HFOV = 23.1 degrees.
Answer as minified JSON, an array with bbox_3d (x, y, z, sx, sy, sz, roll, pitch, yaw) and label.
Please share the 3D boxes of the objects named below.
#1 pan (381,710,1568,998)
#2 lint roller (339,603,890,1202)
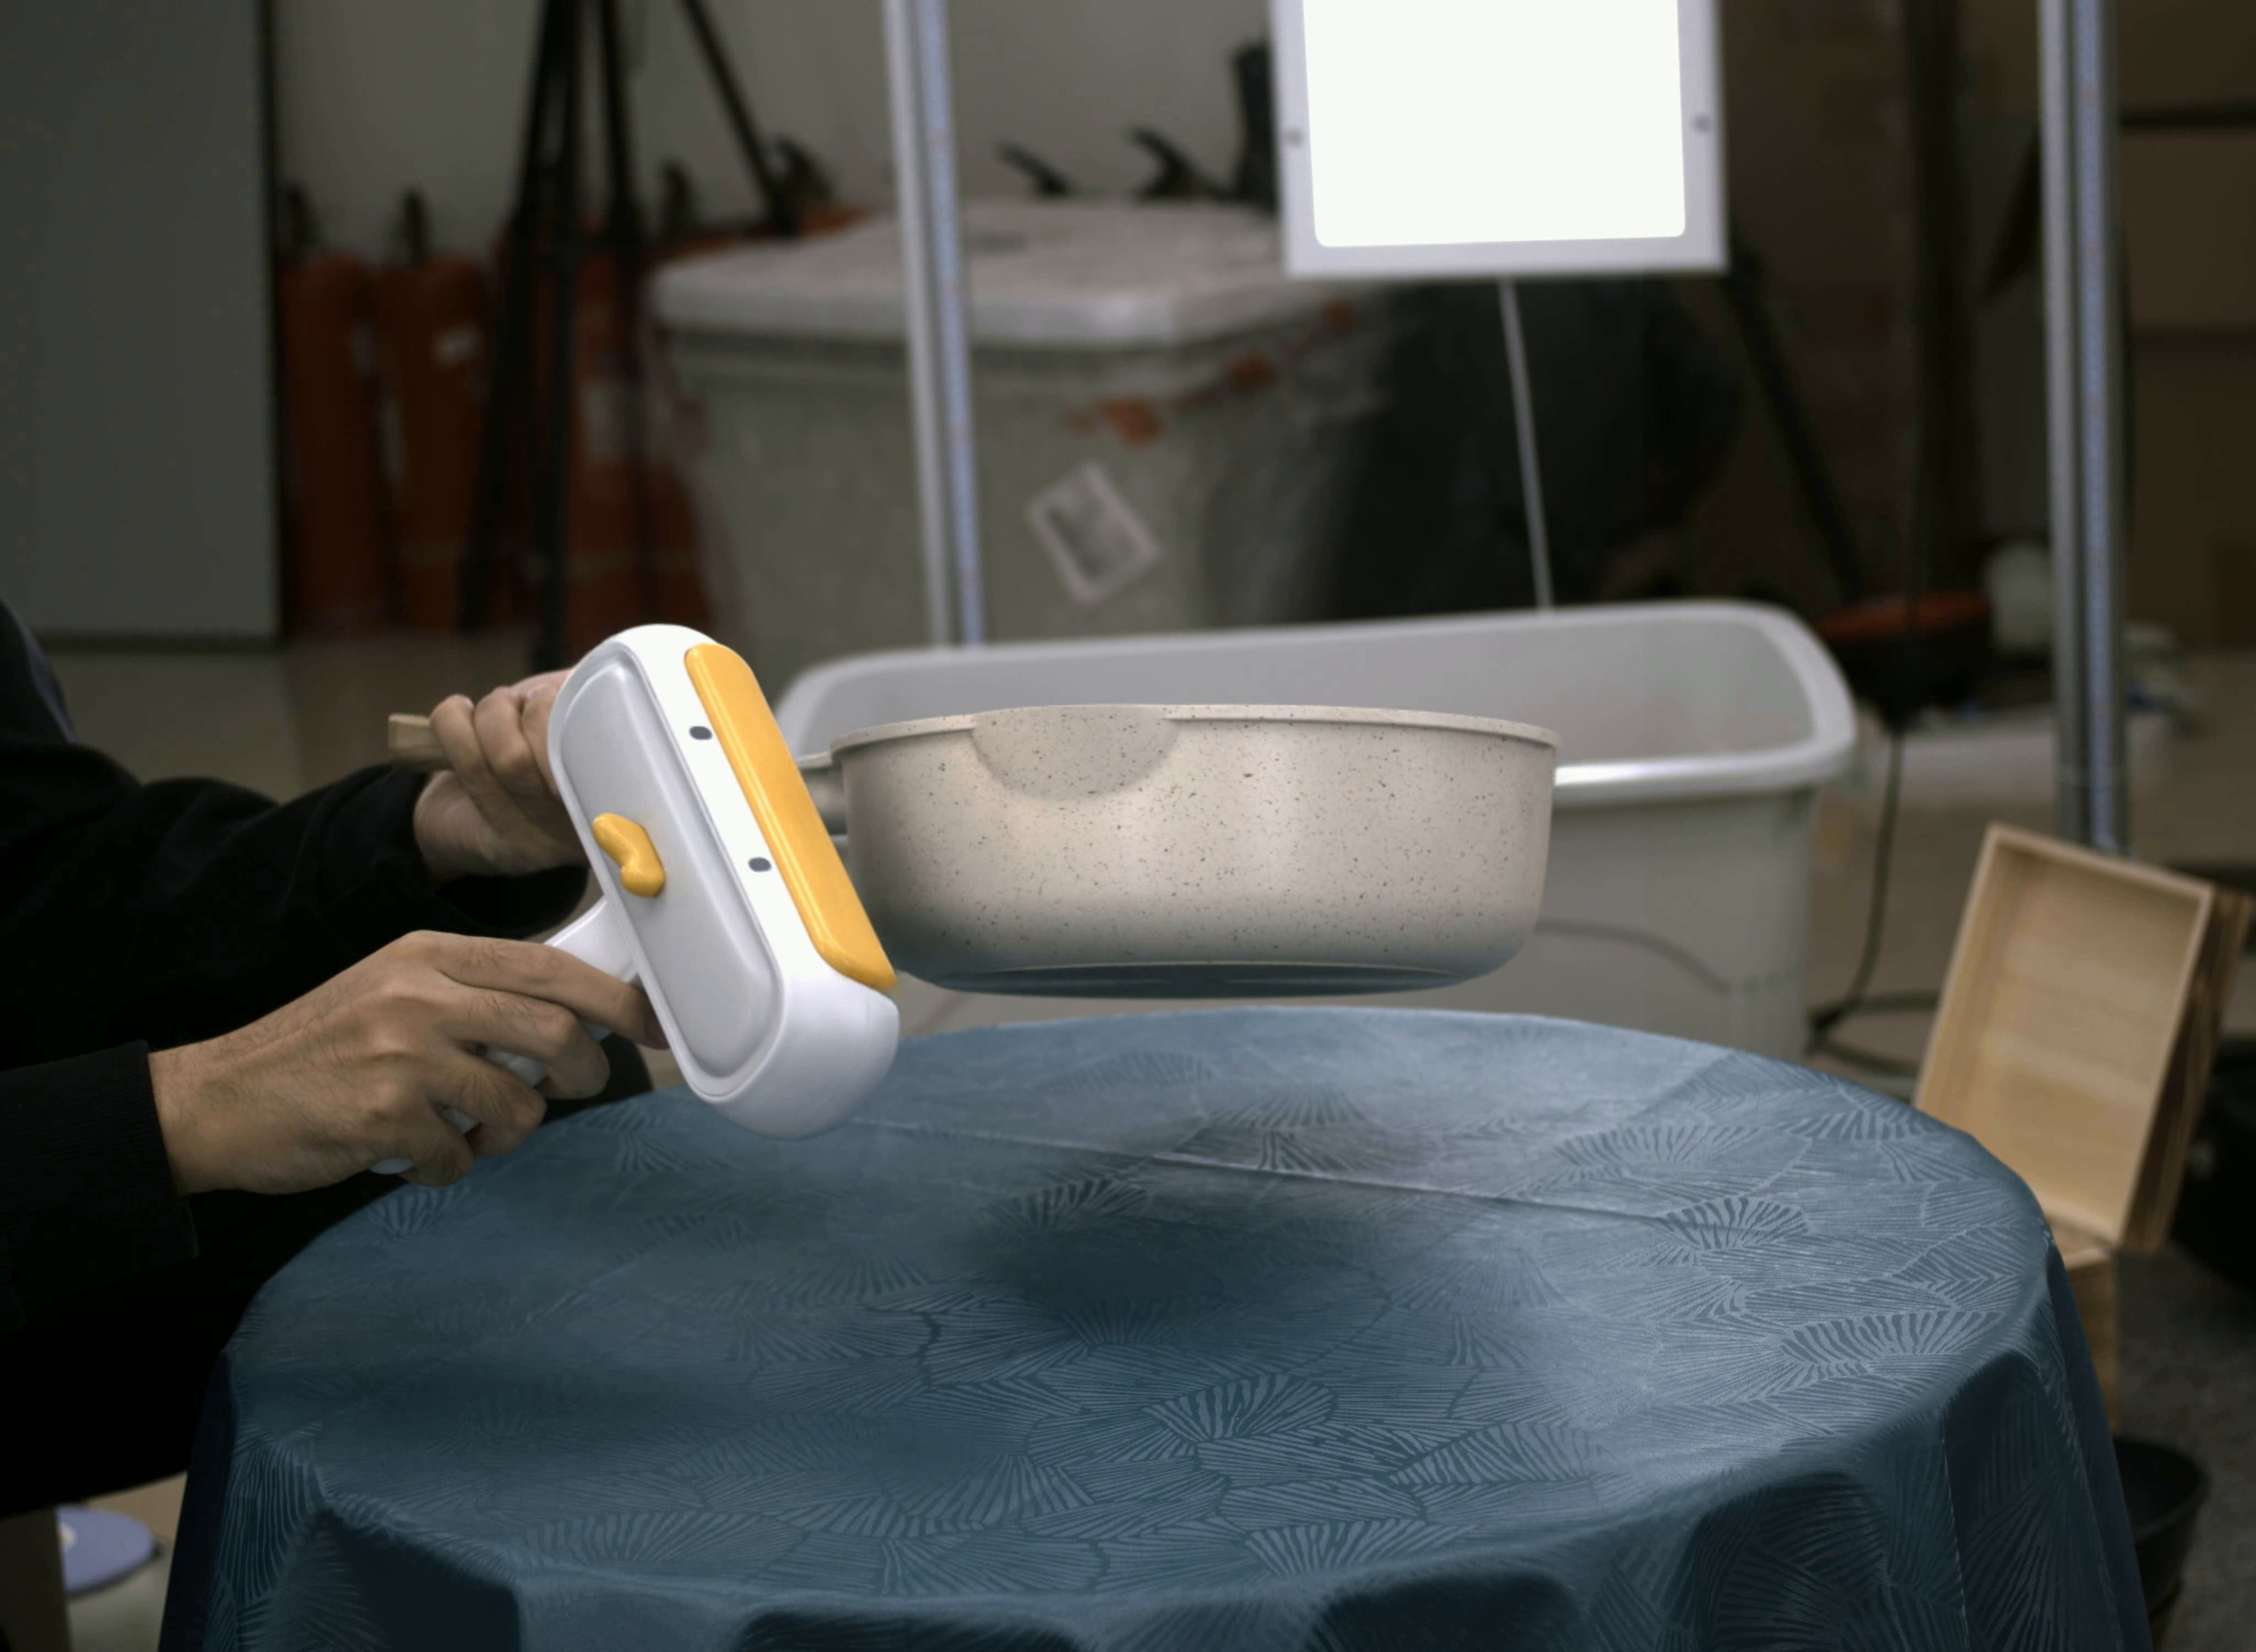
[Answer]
[{"bbox_3d":[-0.061,0.008,1.907,0.441,0.102,0.259,-2,-4,22],"label":"pan"},{"bbox_3d":[-0.176,0.049,1.776,0.072,0.195,0.194,16,33,-49],"label":"lint roller"}]
